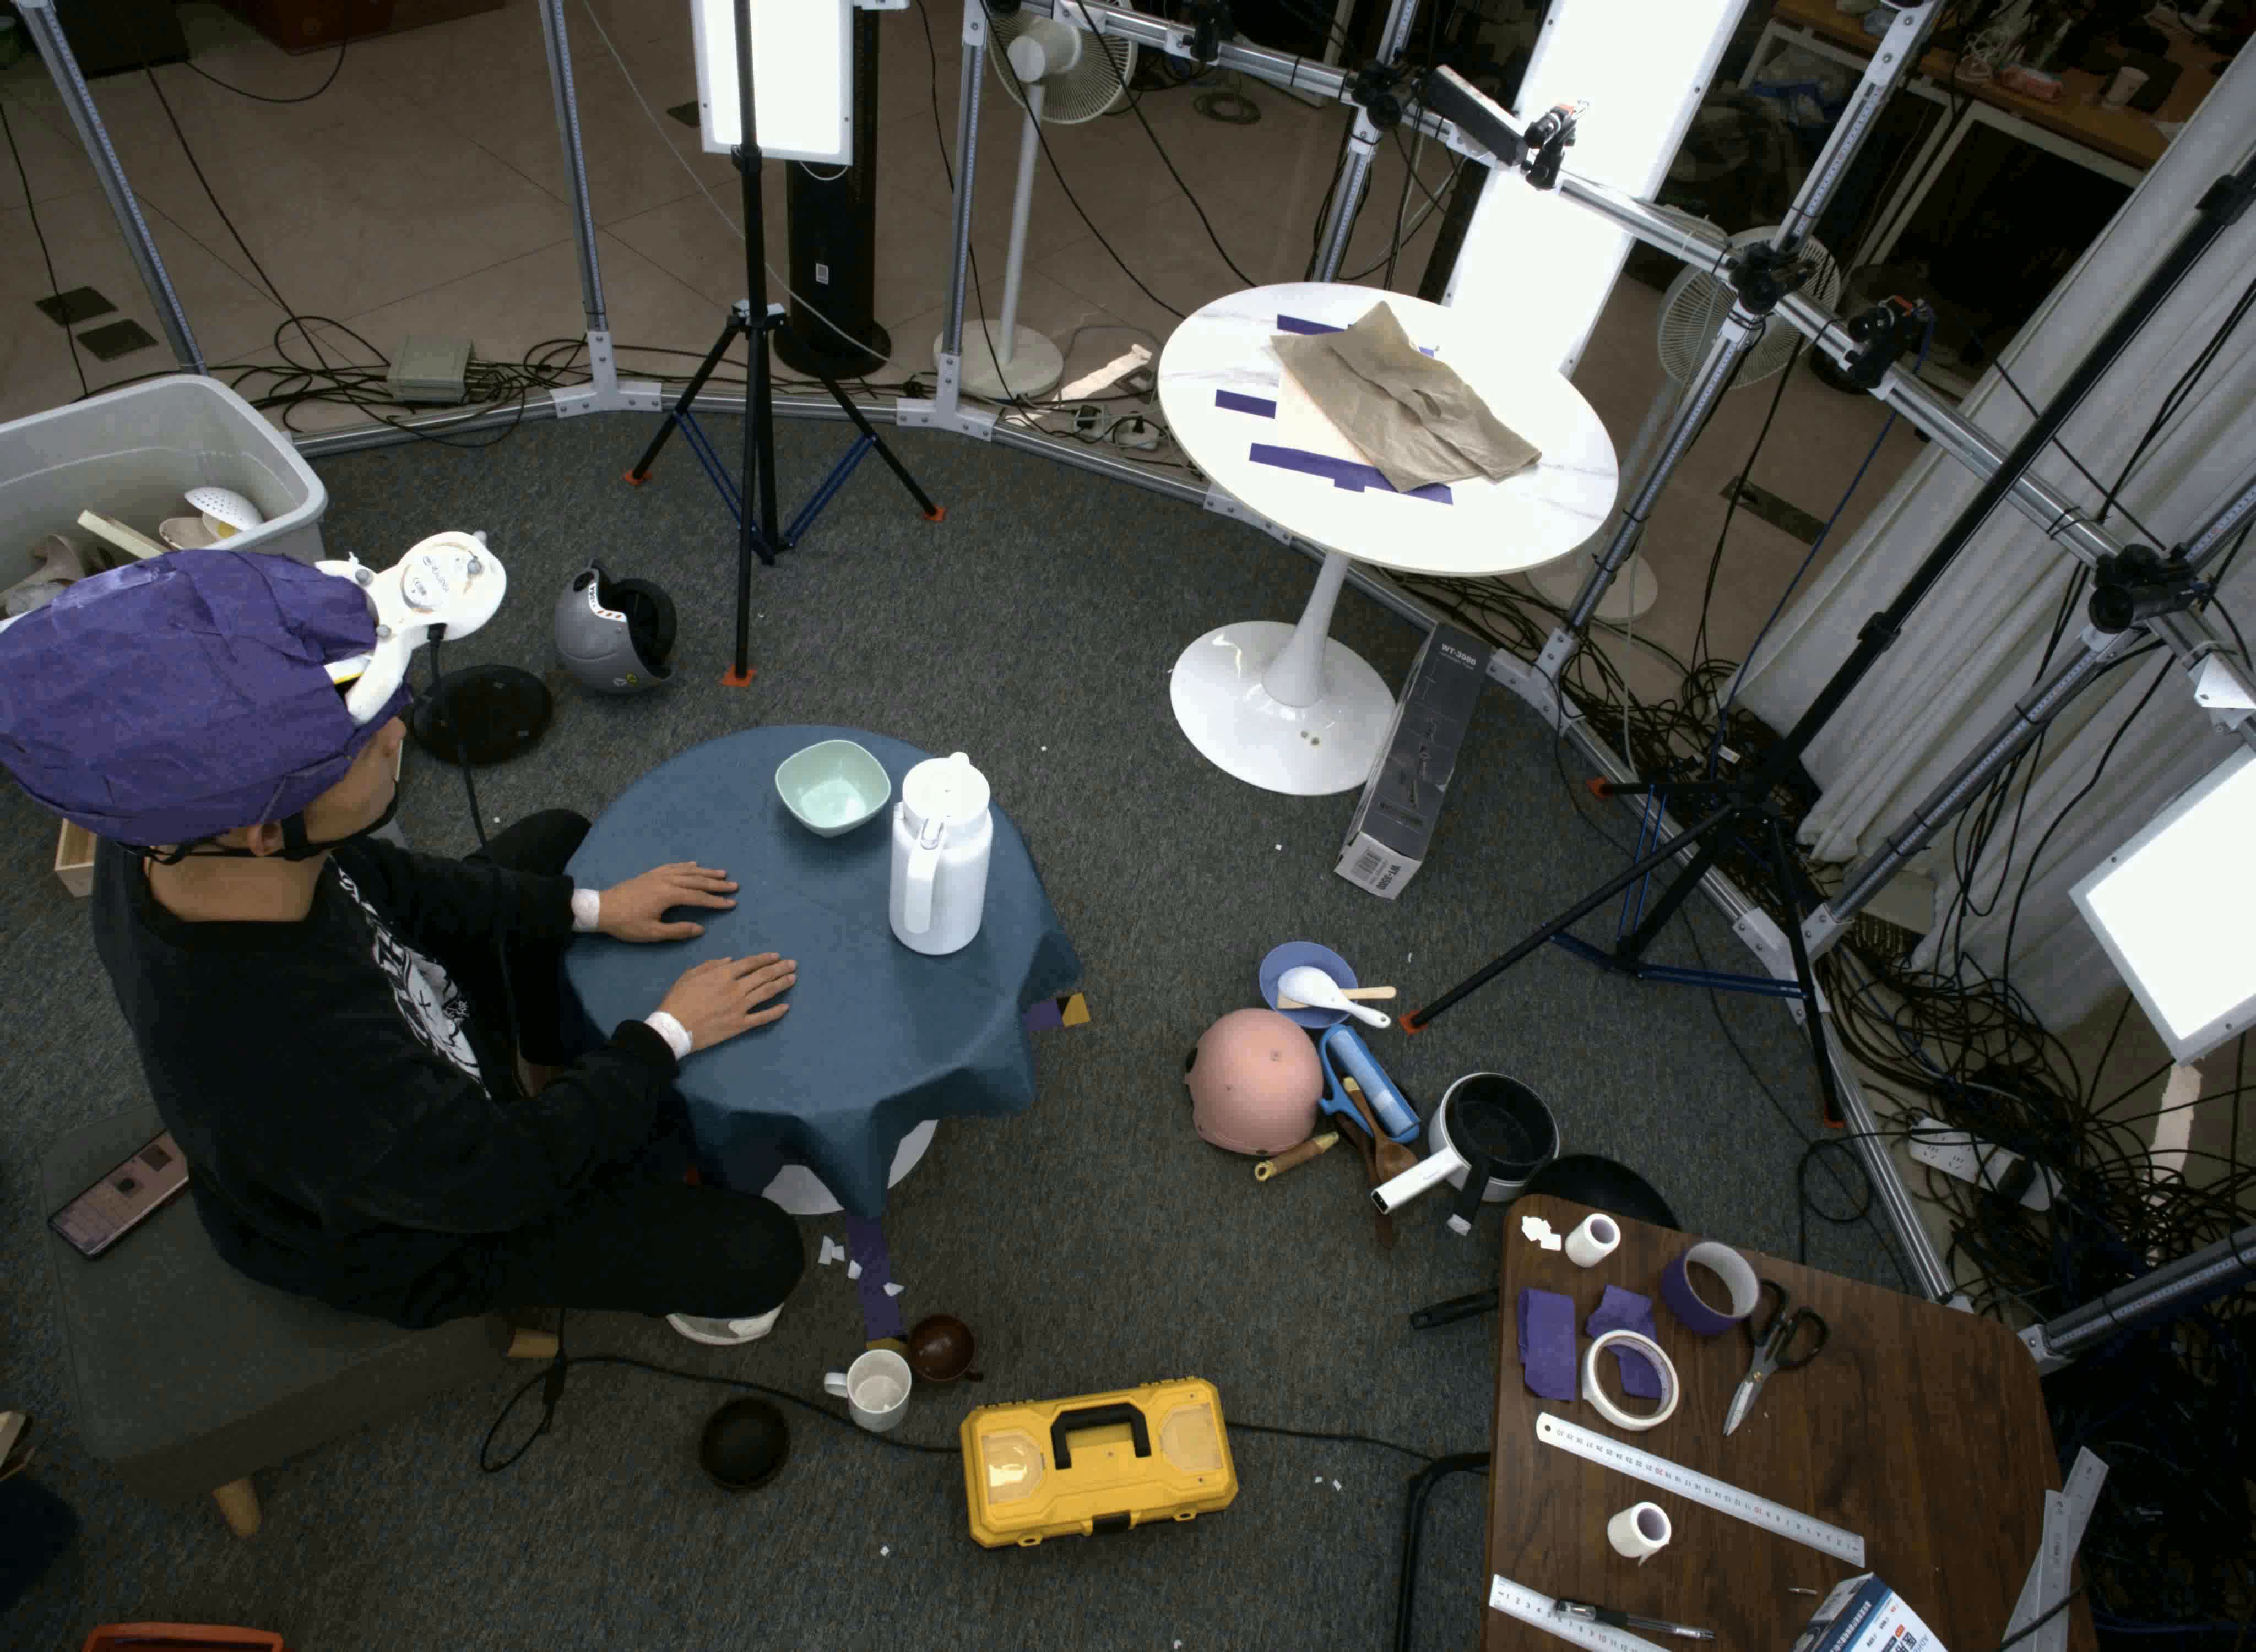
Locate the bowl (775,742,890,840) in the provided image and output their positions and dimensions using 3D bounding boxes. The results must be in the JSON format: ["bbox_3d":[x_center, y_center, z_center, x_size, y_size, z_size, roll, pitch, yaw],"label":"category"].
[{"bbox_3d":[-0.392,-0.038,1.724,0.151,0.060,0.149,8,52,-8],"label":"bowl"}]

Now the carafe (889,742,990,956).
[{"bbox_3d":[-0.230,0.049,1.562,0.123,0.274,0.170,14,51,-3],"label":"carafe"}]
